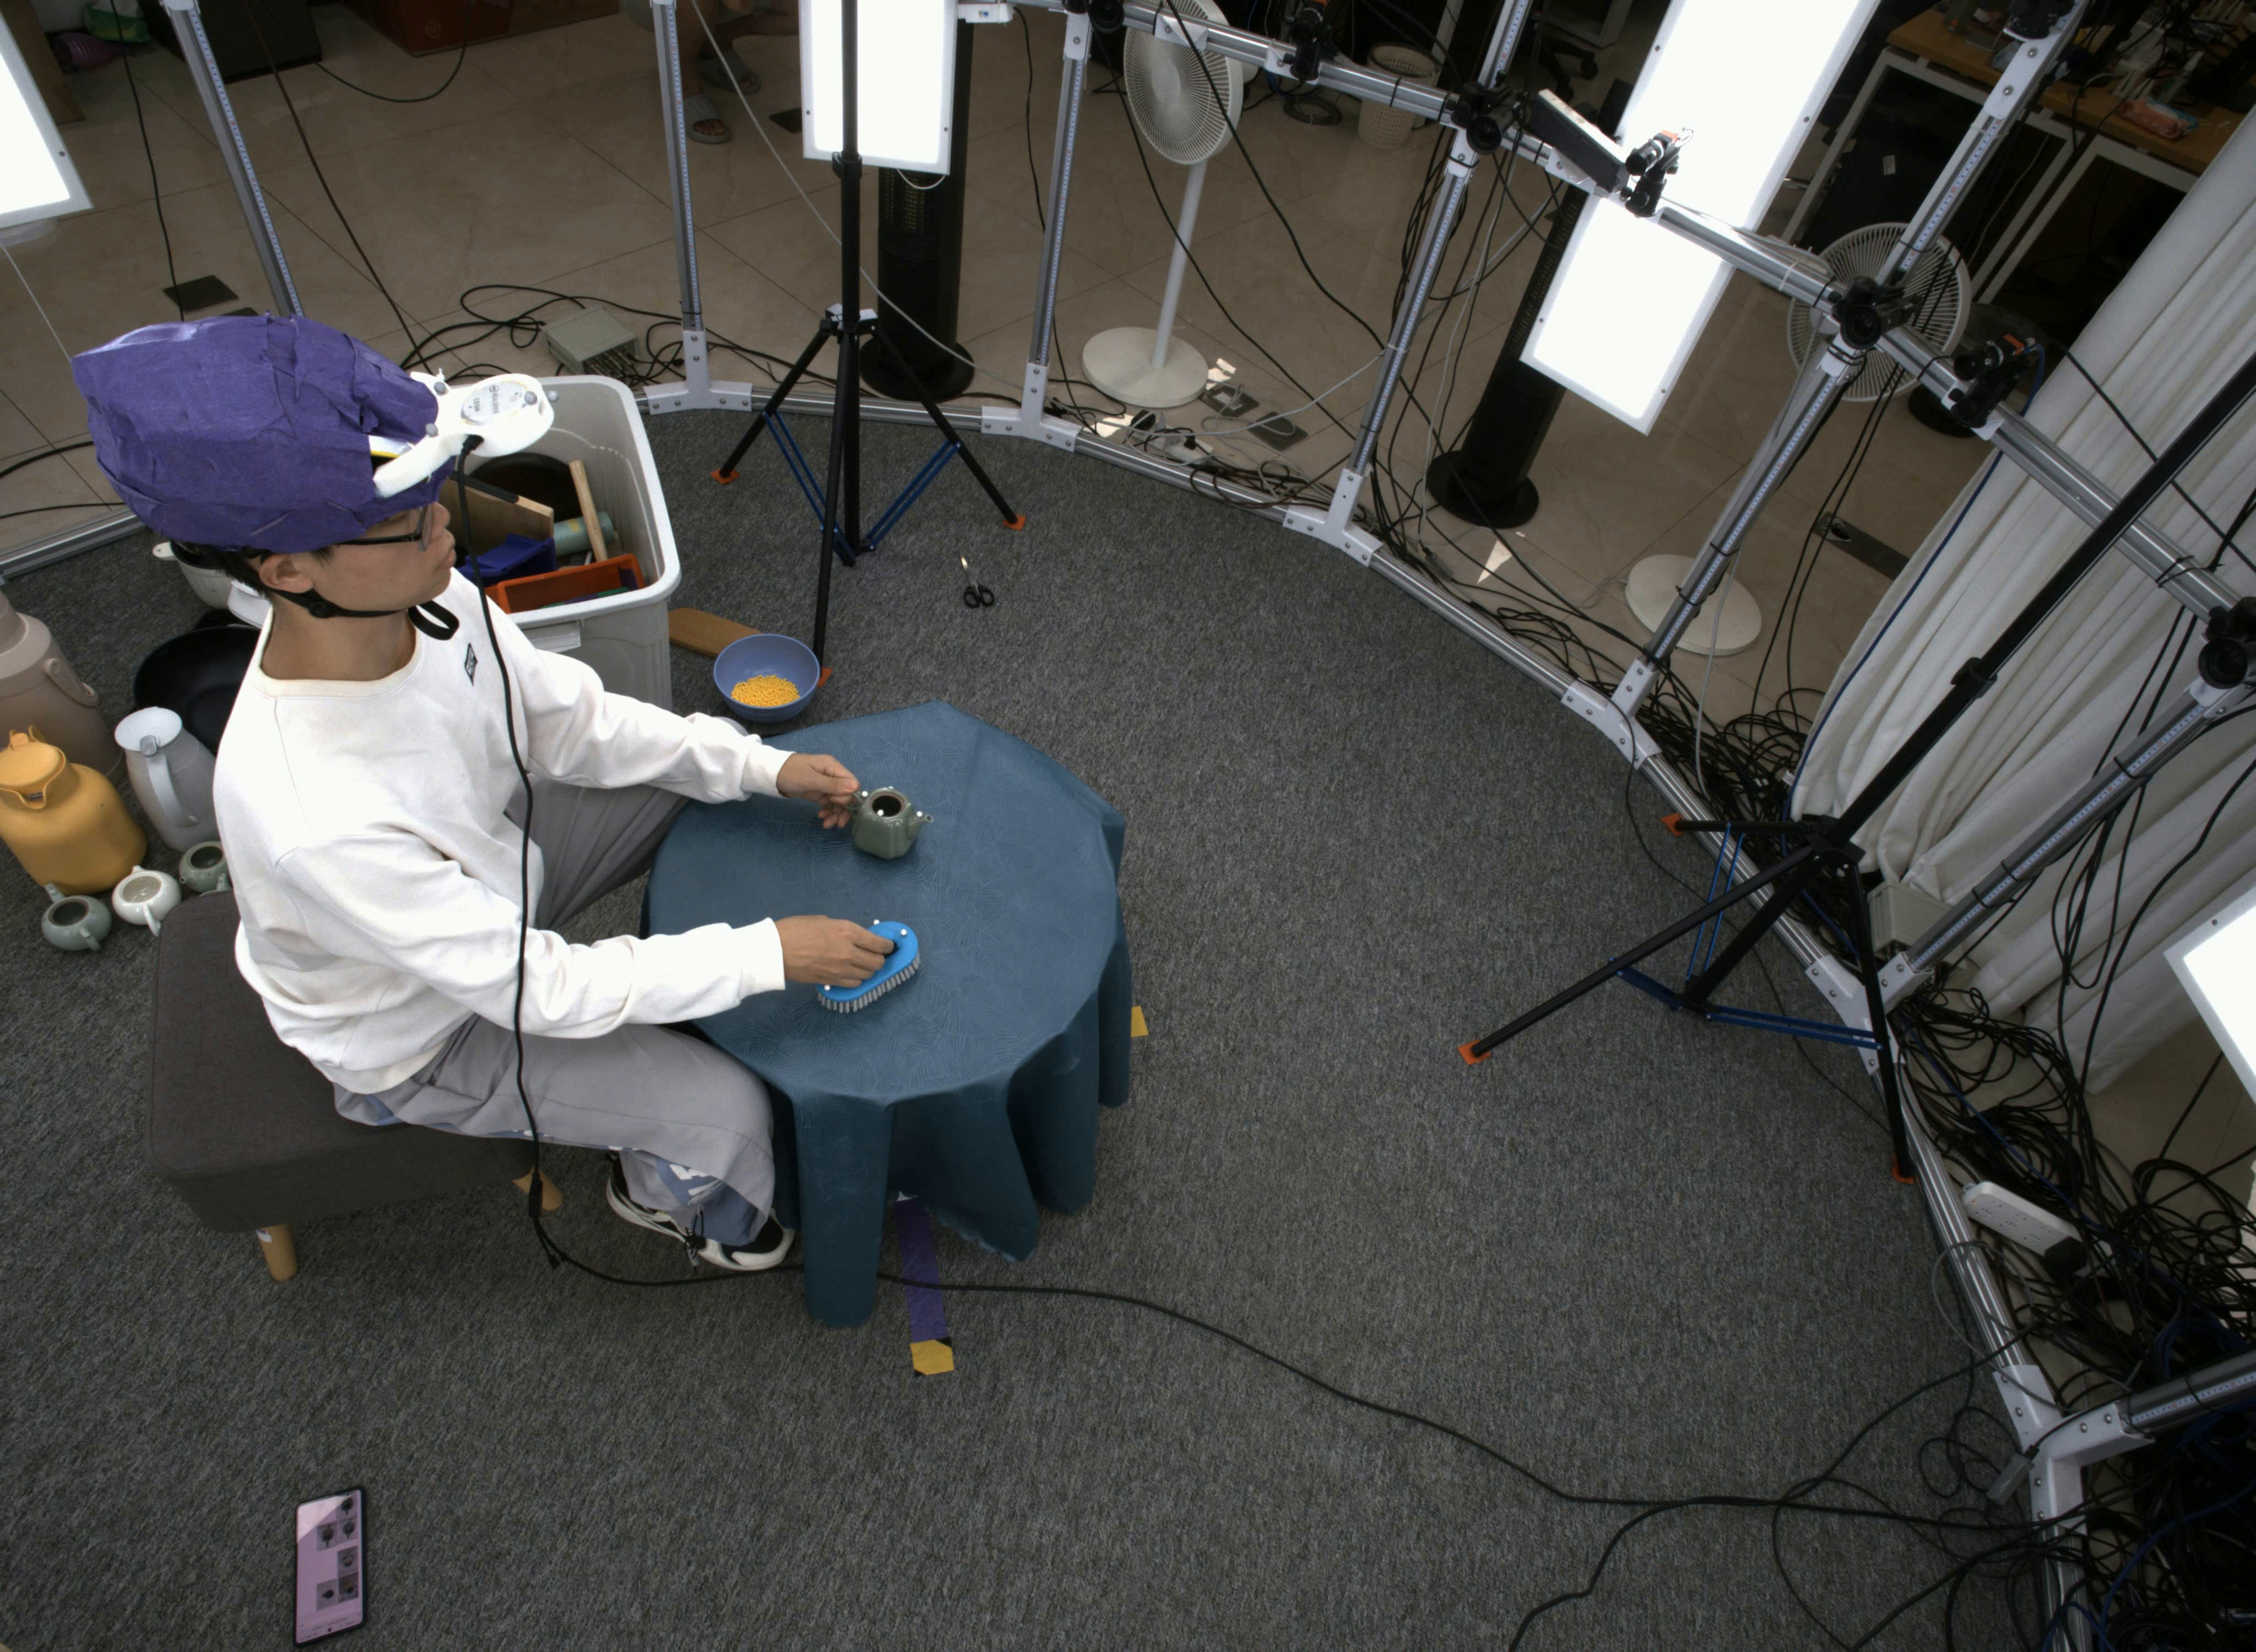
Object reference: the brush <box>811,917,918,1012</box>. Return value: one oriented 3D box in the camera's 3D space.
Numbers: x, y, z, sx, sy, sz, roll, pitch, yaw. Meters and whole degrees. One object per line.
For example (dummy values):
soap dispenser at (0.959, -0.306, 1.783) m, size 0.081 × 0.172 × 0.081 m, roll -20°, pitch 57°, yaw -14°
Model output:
brush at (-0.320, 0.162, 1.590) m, size 0.142 × 0.065 × 0.082 m, roll -32°, pitch 68°, yaw -26°

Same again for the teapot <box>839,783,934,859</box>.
teapot at (-0.320, -0.009, 1.715) m, size 0.131 × 0.077 × 0.079 m, roll 19°, pitch 46°, yaw 2°
